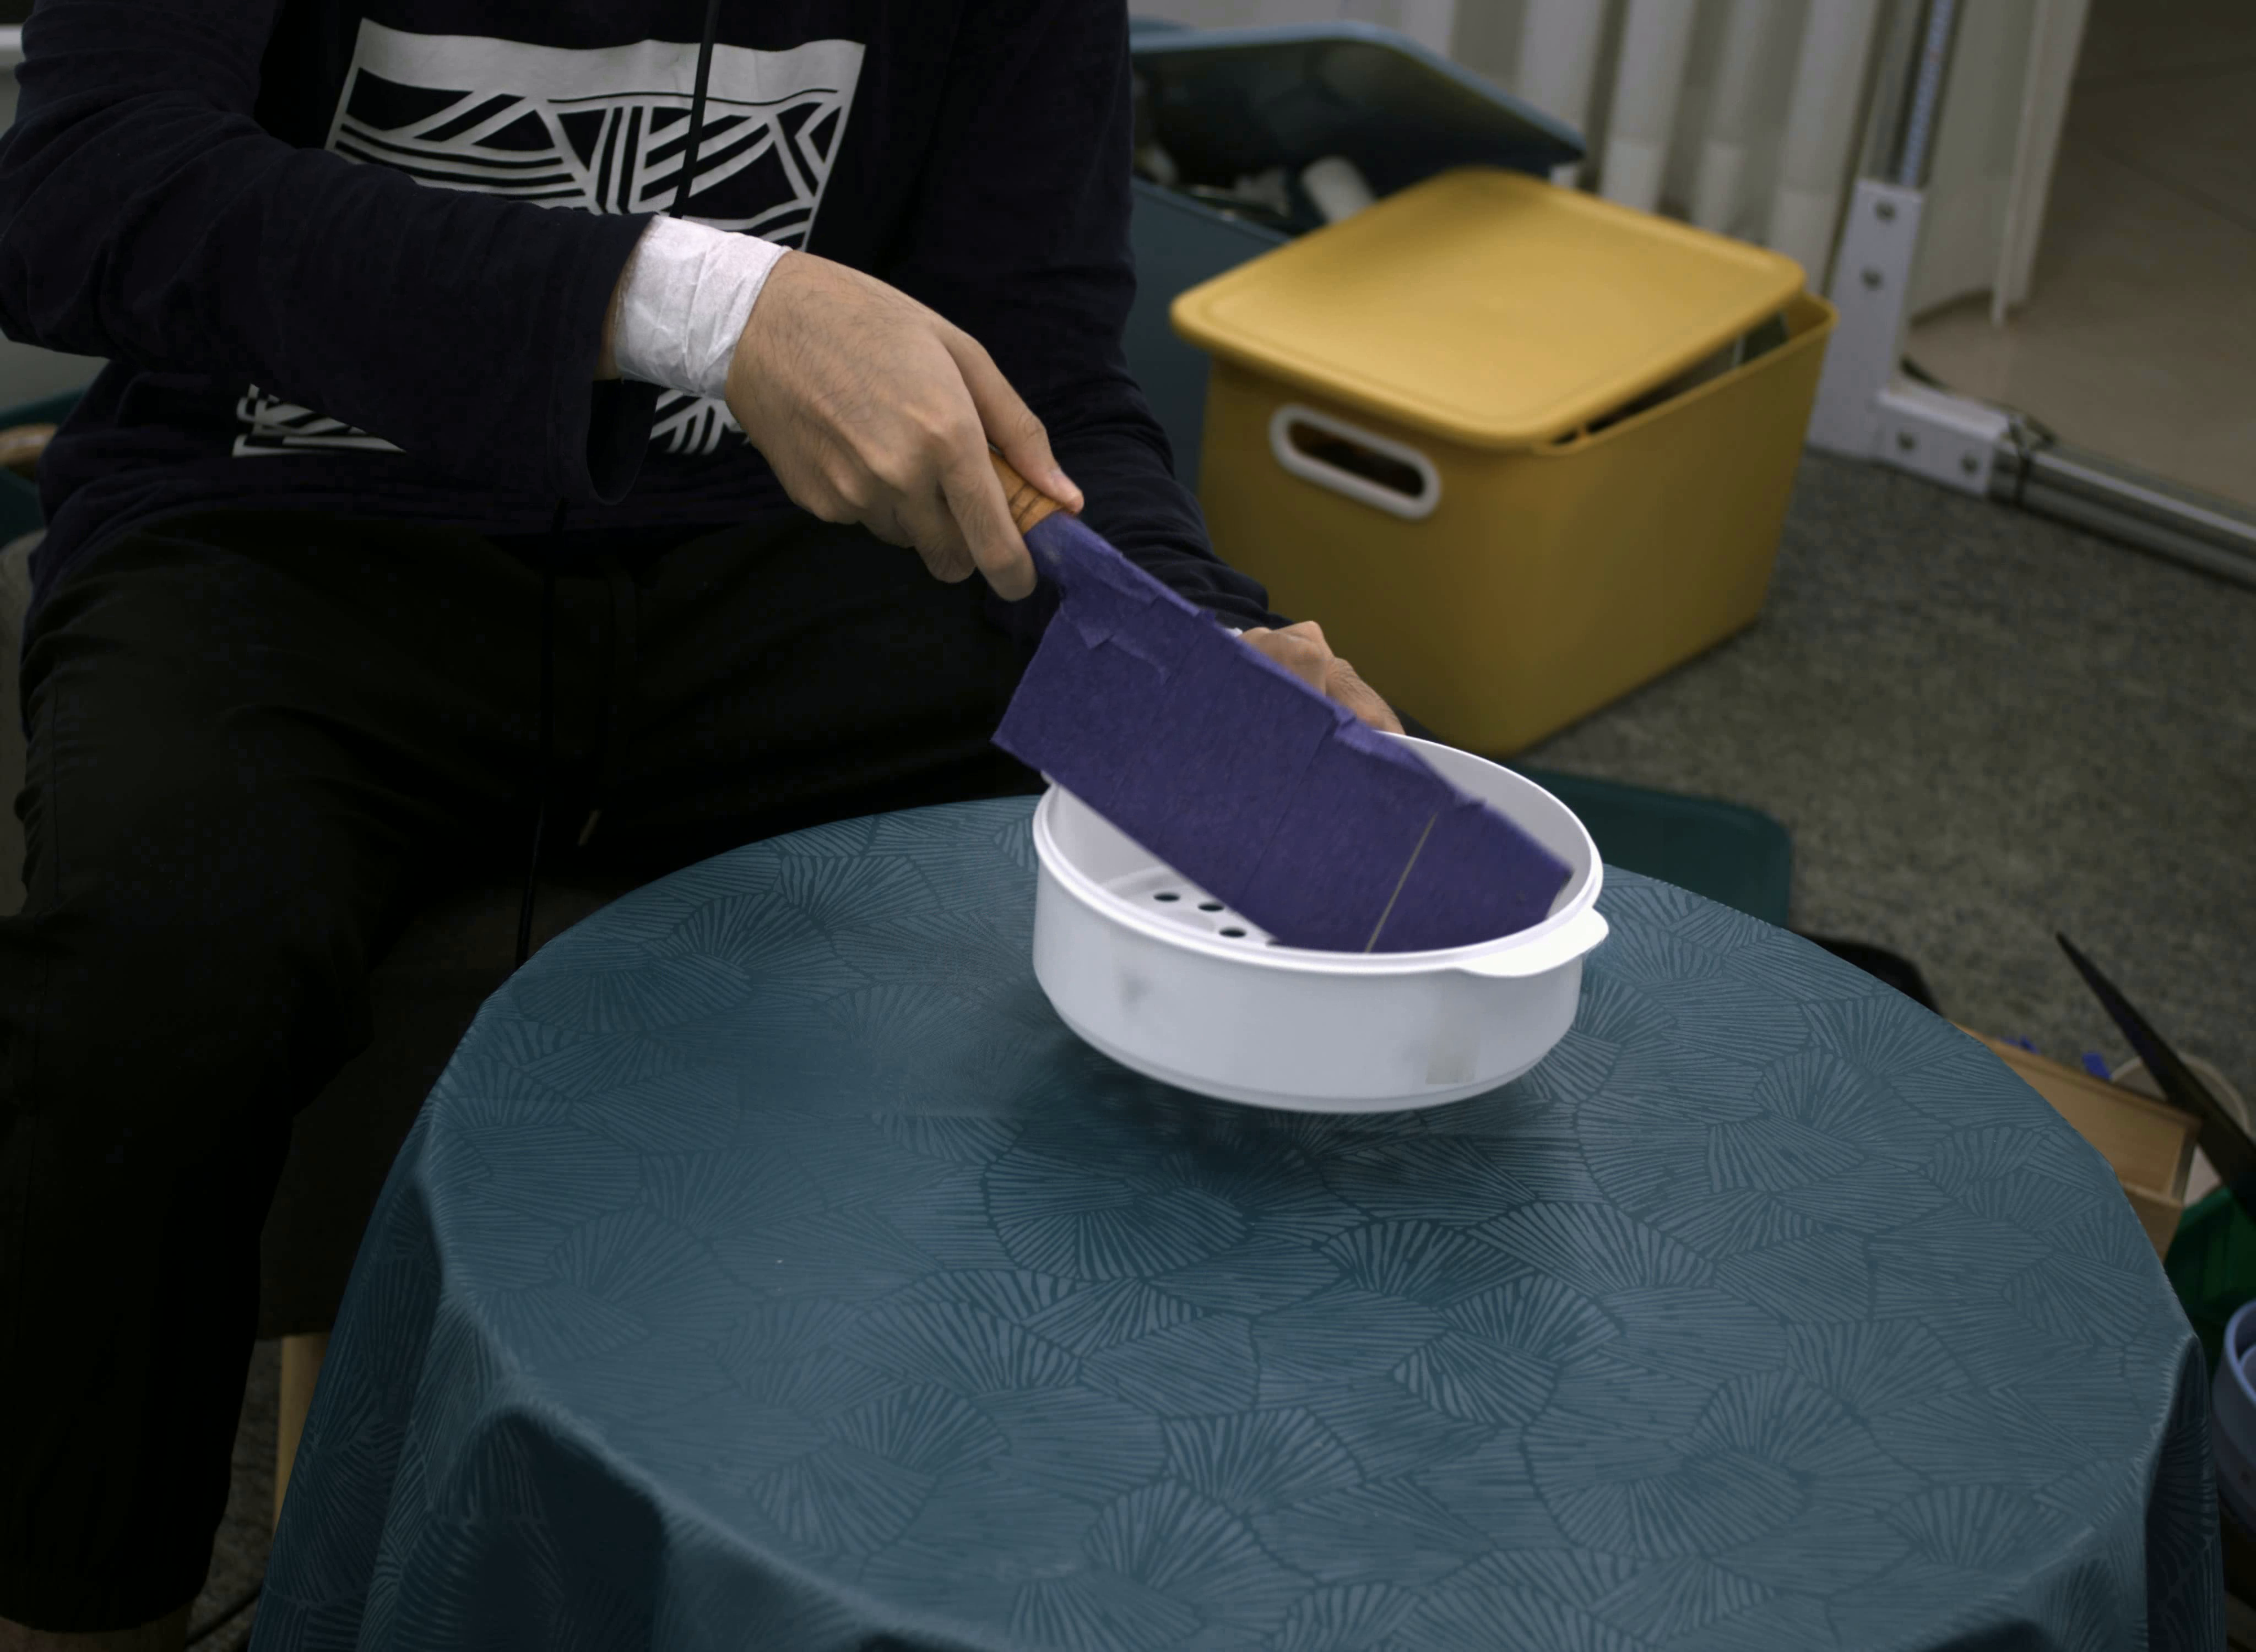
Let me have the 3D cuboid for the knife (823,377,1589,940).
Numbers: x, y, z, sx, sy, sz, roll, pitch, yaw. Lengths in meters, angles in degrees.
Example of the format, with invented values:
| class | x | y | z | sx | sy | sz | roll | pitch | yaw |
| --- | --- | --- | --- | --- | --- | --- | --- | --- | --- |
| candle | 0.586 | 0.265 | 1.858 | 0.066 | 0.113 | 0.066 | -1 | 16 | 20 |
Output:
| class | x | y | z | sx | sy | sz | roll | pitch | yaw |
| --- | --- | --- | --- | --- | --- | --- | --- | --- | --- |
| knife | 0.012 | -0.040 | 1.849 | 0.316 | 0.103 | 0.032 | 34 | 29 | 18 |

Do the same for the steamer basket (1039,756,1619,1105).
| class | x | y | z | sx | sy | sz | roll | pitch | yaw |
| --- | --- | --- | --- | --- | --- | --- | --- | --- | --- |
| steamer basket | 0.067 | 0.034 | 1.867 | 0.232 | 0.069 | 0.201 | 22 | 27 | 39 |
